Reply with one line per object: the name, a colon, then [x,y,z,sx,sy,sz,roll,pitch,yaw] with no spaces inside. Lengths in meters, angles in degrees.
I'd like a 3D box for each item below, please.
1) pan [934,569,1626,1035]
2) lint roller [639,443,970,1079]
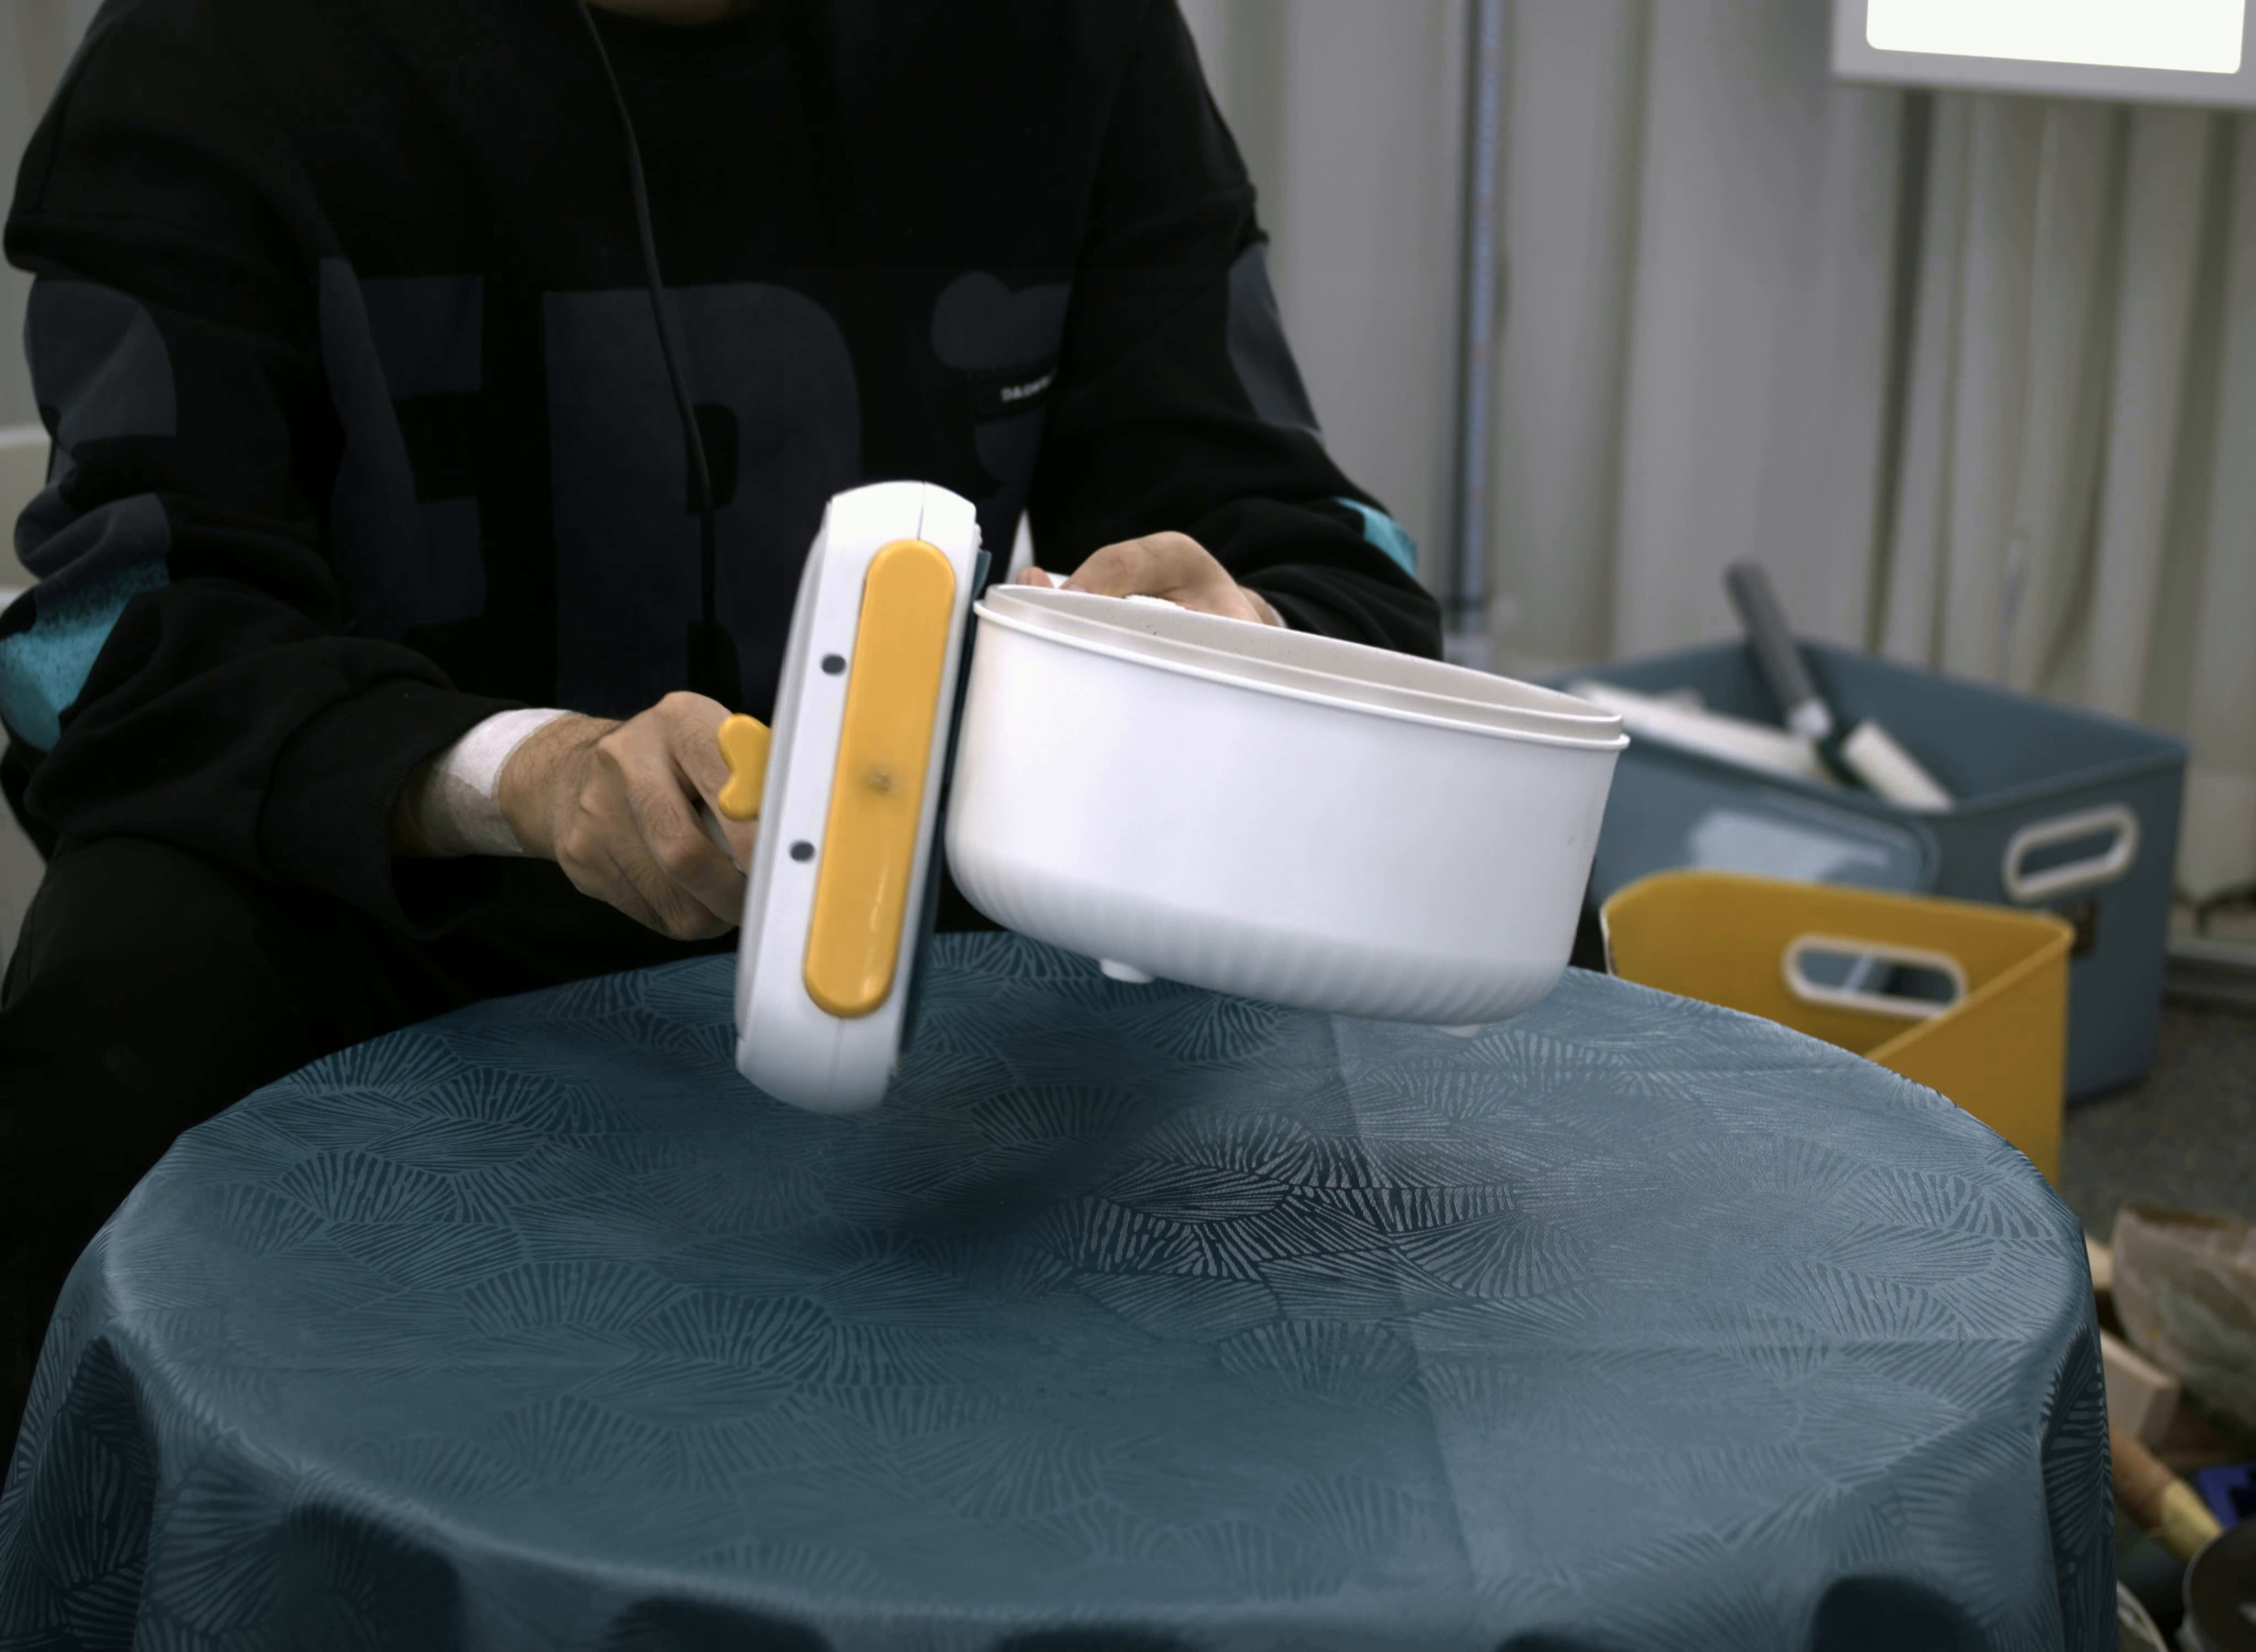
pan: [0.020,-0.016,1.650,0.202,0.102,0.352,11,4,-18]
lint roller: [-0.105,-0.008,1.625,0.074,0.192,0.192,7,-14,-15]
